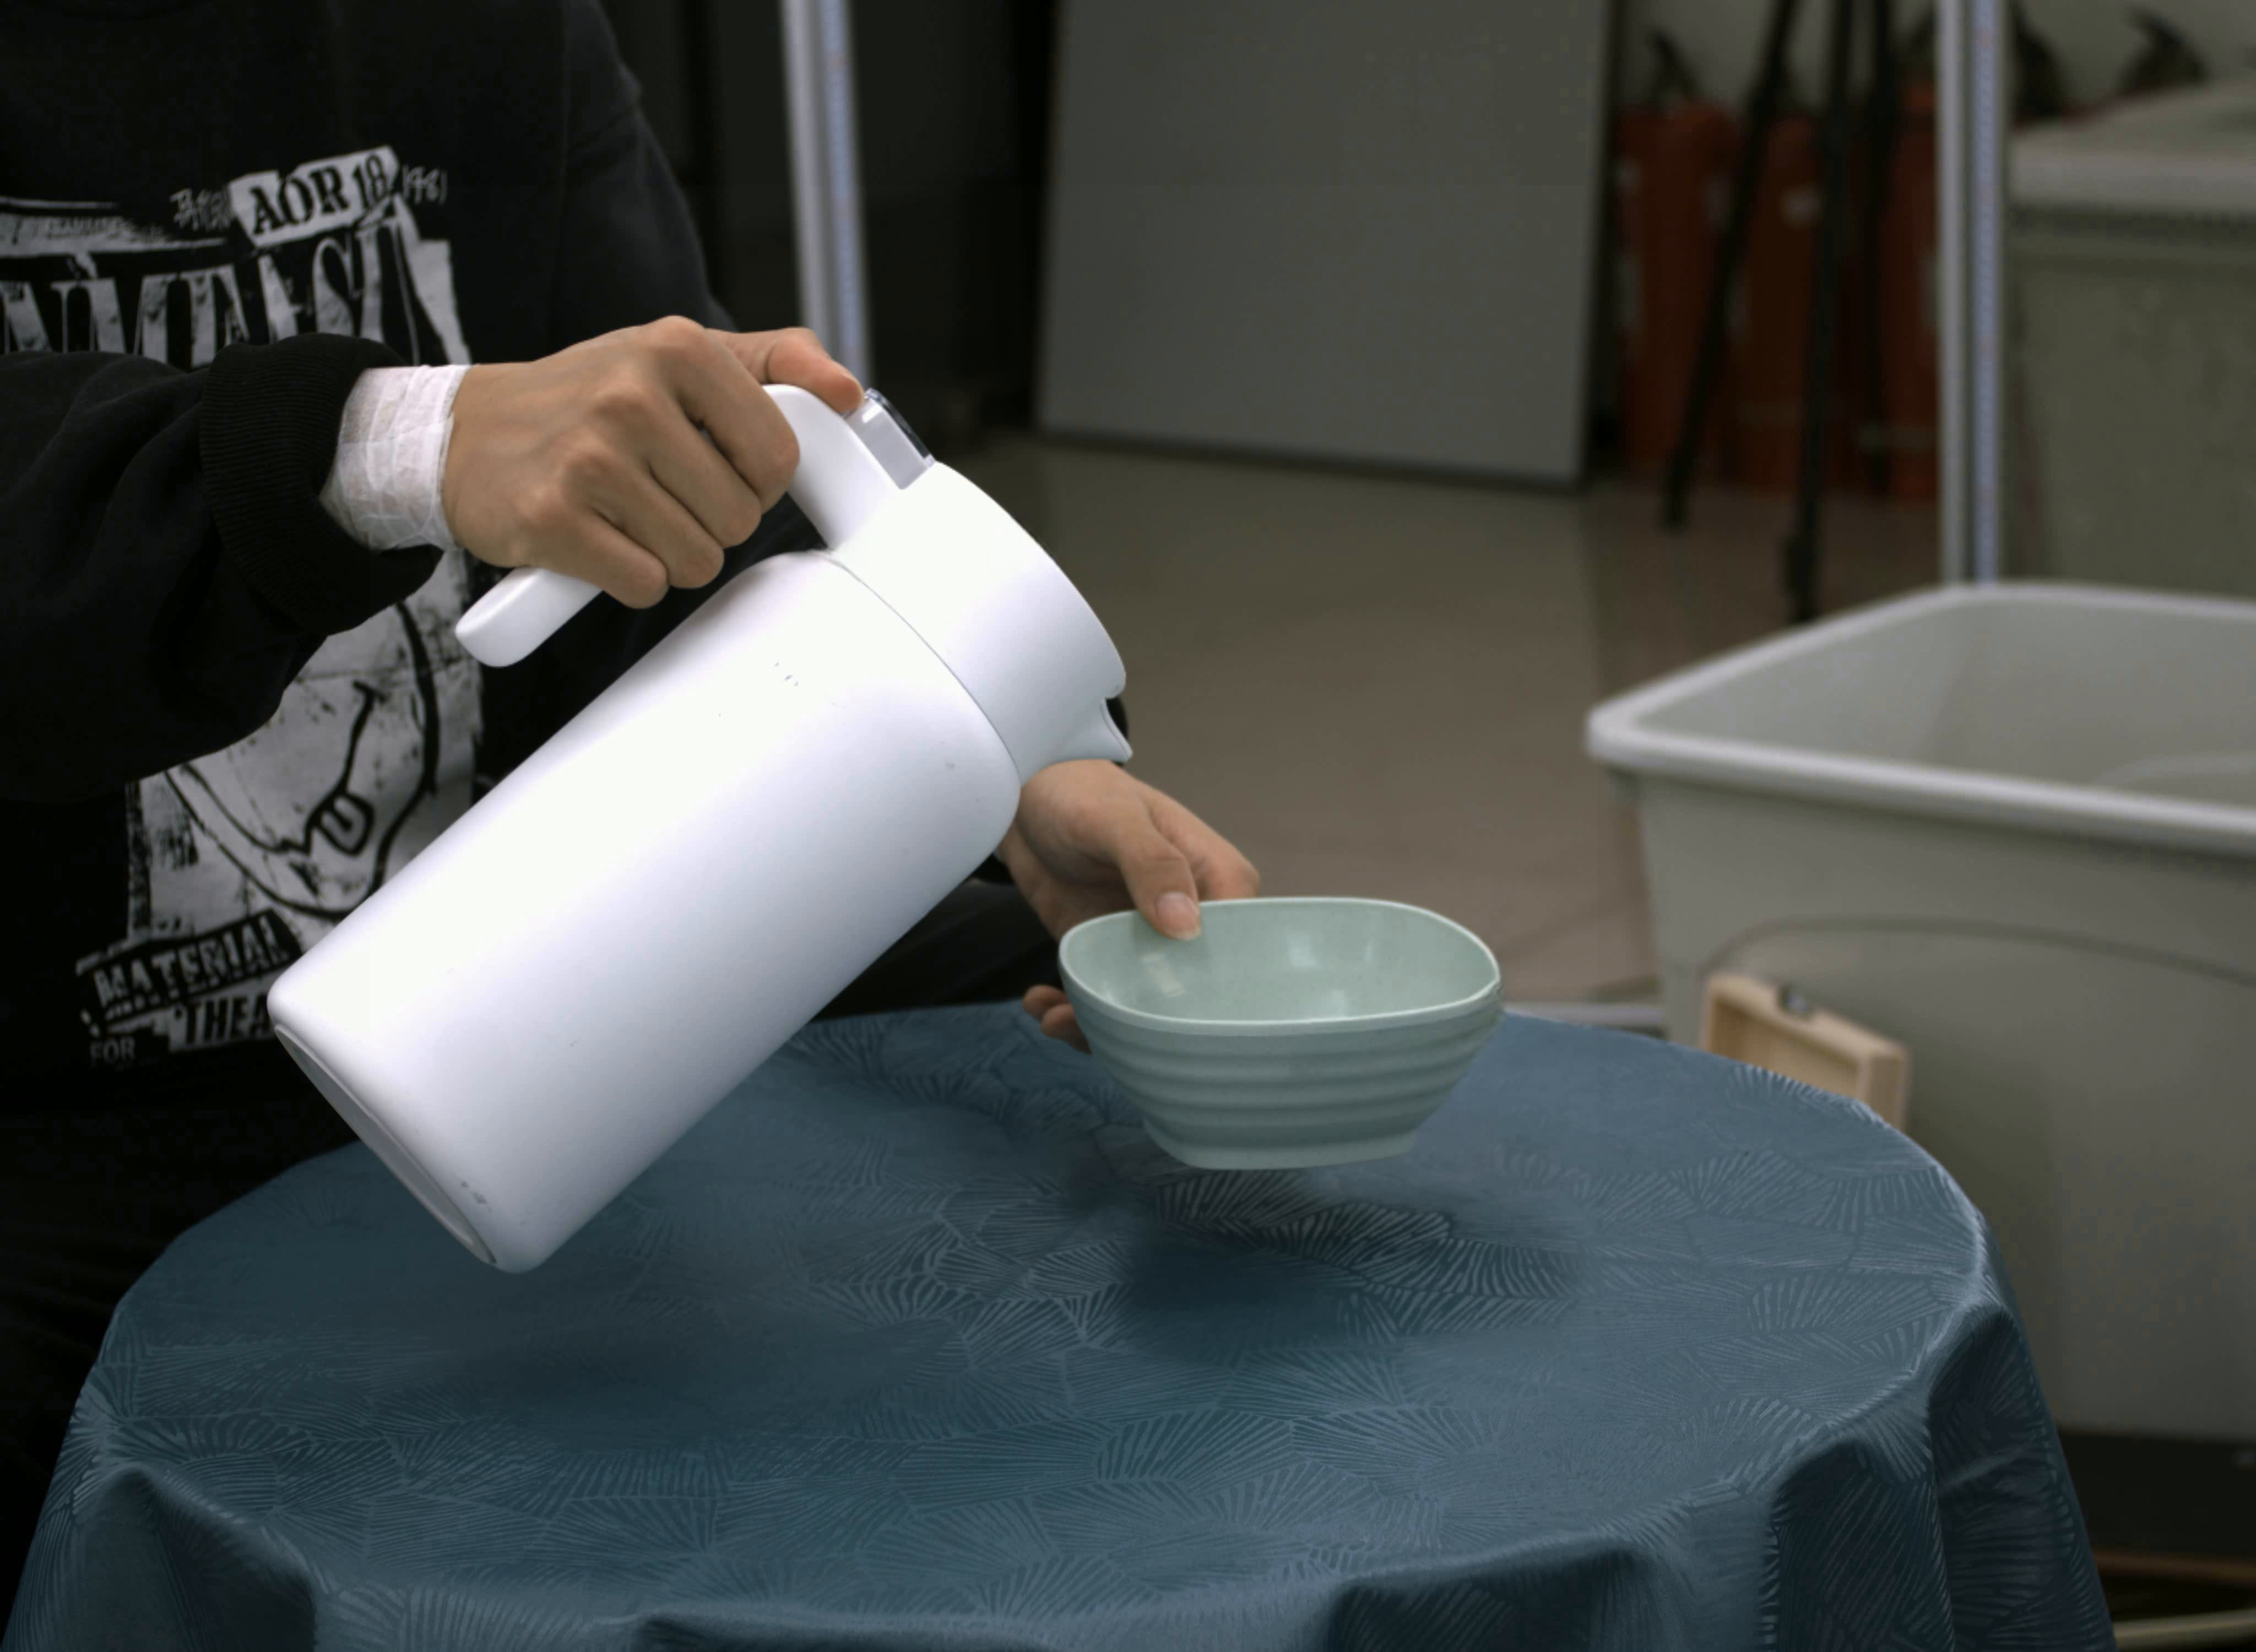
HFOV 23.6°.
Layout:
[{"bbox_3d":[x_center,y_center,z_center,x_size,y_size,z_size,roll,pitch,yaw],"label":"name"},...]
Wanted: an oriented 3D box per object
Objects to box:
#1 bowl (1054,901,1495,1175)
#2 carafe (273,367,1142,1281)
[{"bbox_3d":[0.046,0.070,1.715,0.149,0.059,0.152,-1,14,-1],"label":"bowl"},{"bbox_3d":[-0.137,-0.005,1.635,0.268,0.172,0.125,-43,17,-9],"label":"carafe"}]
